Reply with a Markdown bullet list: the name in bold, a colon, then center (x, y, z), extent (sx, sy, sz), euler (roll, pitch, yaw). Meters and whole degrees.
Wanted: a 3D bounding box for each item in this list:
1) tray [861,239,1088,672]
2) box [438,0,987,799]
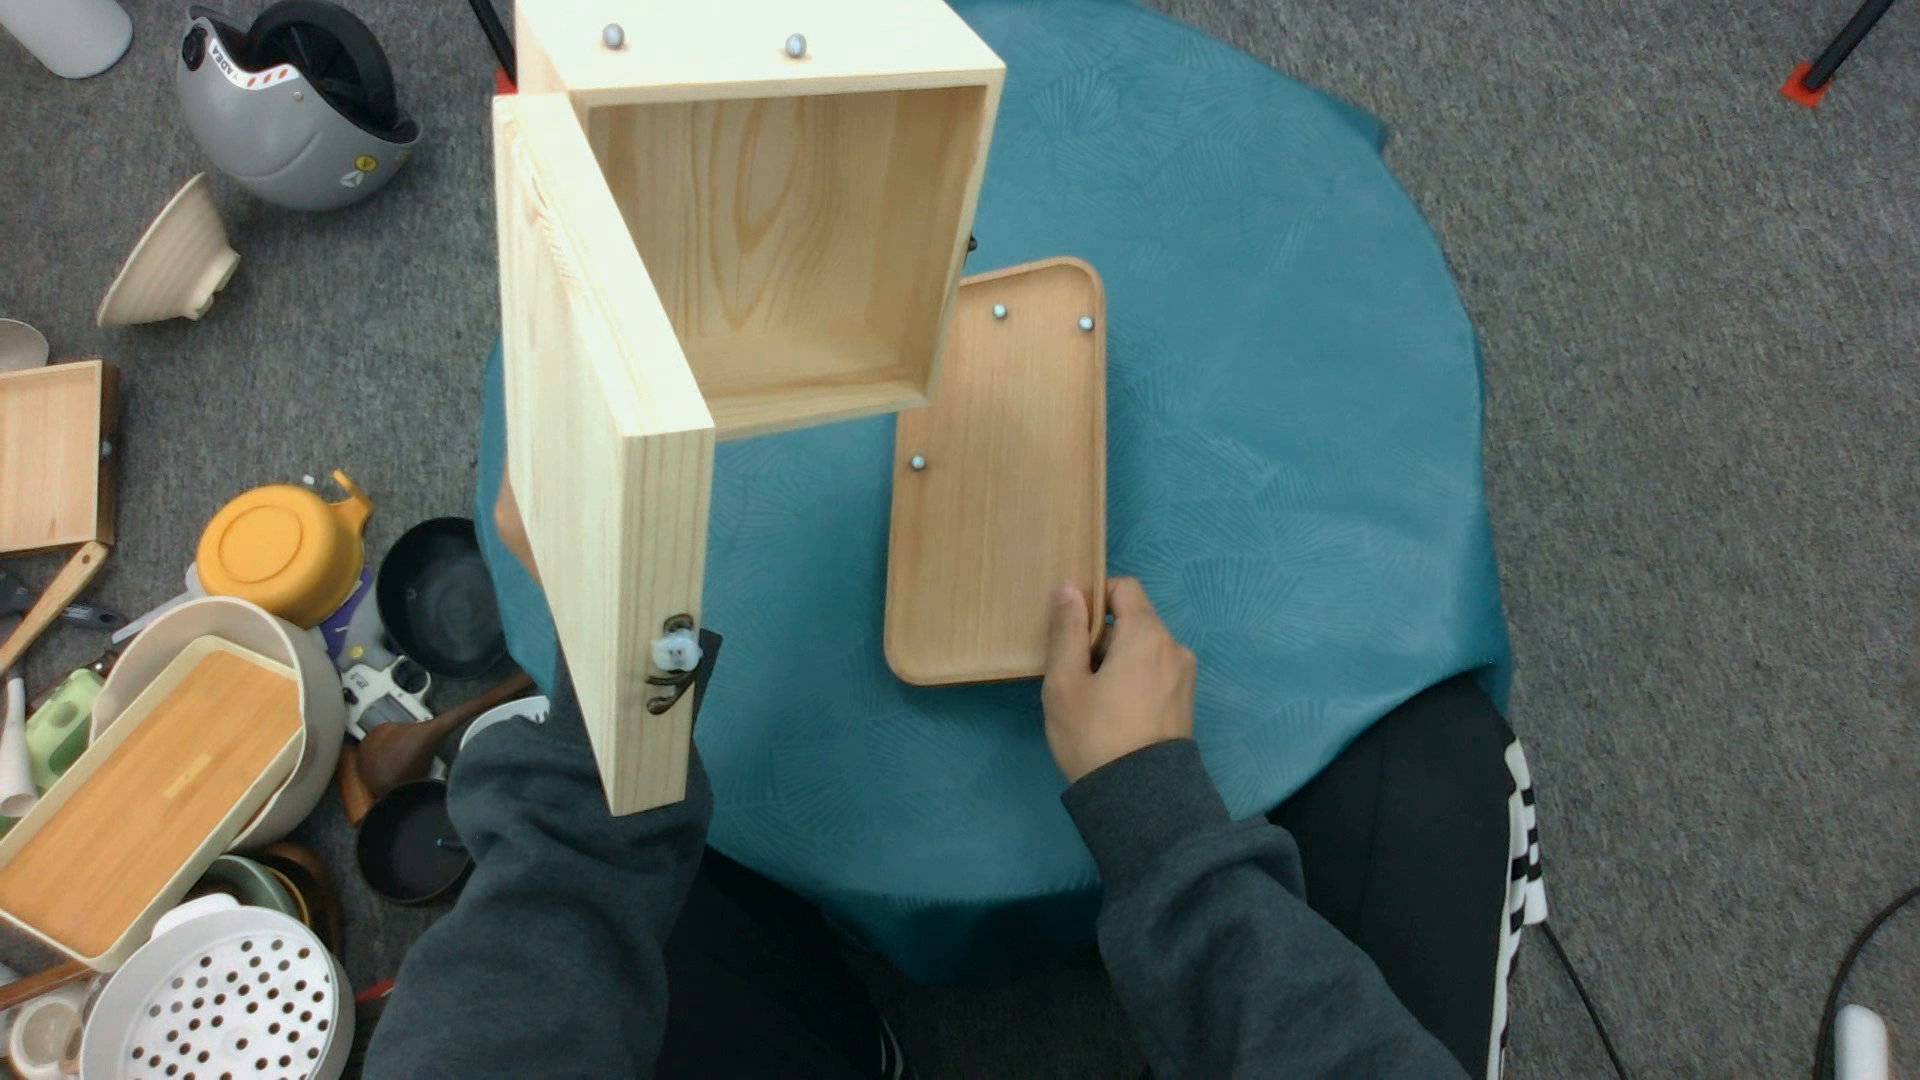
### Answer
- **tray**: center (0.010, -0.050, 0.763), extent (0.130, 0.023, 0.251), euler (-9, 66, 25)
- **box**: center (-0.093, -0.079, 0.547), extent (0.266, 0.181, 0.254), euler (-13, 53, -26)
